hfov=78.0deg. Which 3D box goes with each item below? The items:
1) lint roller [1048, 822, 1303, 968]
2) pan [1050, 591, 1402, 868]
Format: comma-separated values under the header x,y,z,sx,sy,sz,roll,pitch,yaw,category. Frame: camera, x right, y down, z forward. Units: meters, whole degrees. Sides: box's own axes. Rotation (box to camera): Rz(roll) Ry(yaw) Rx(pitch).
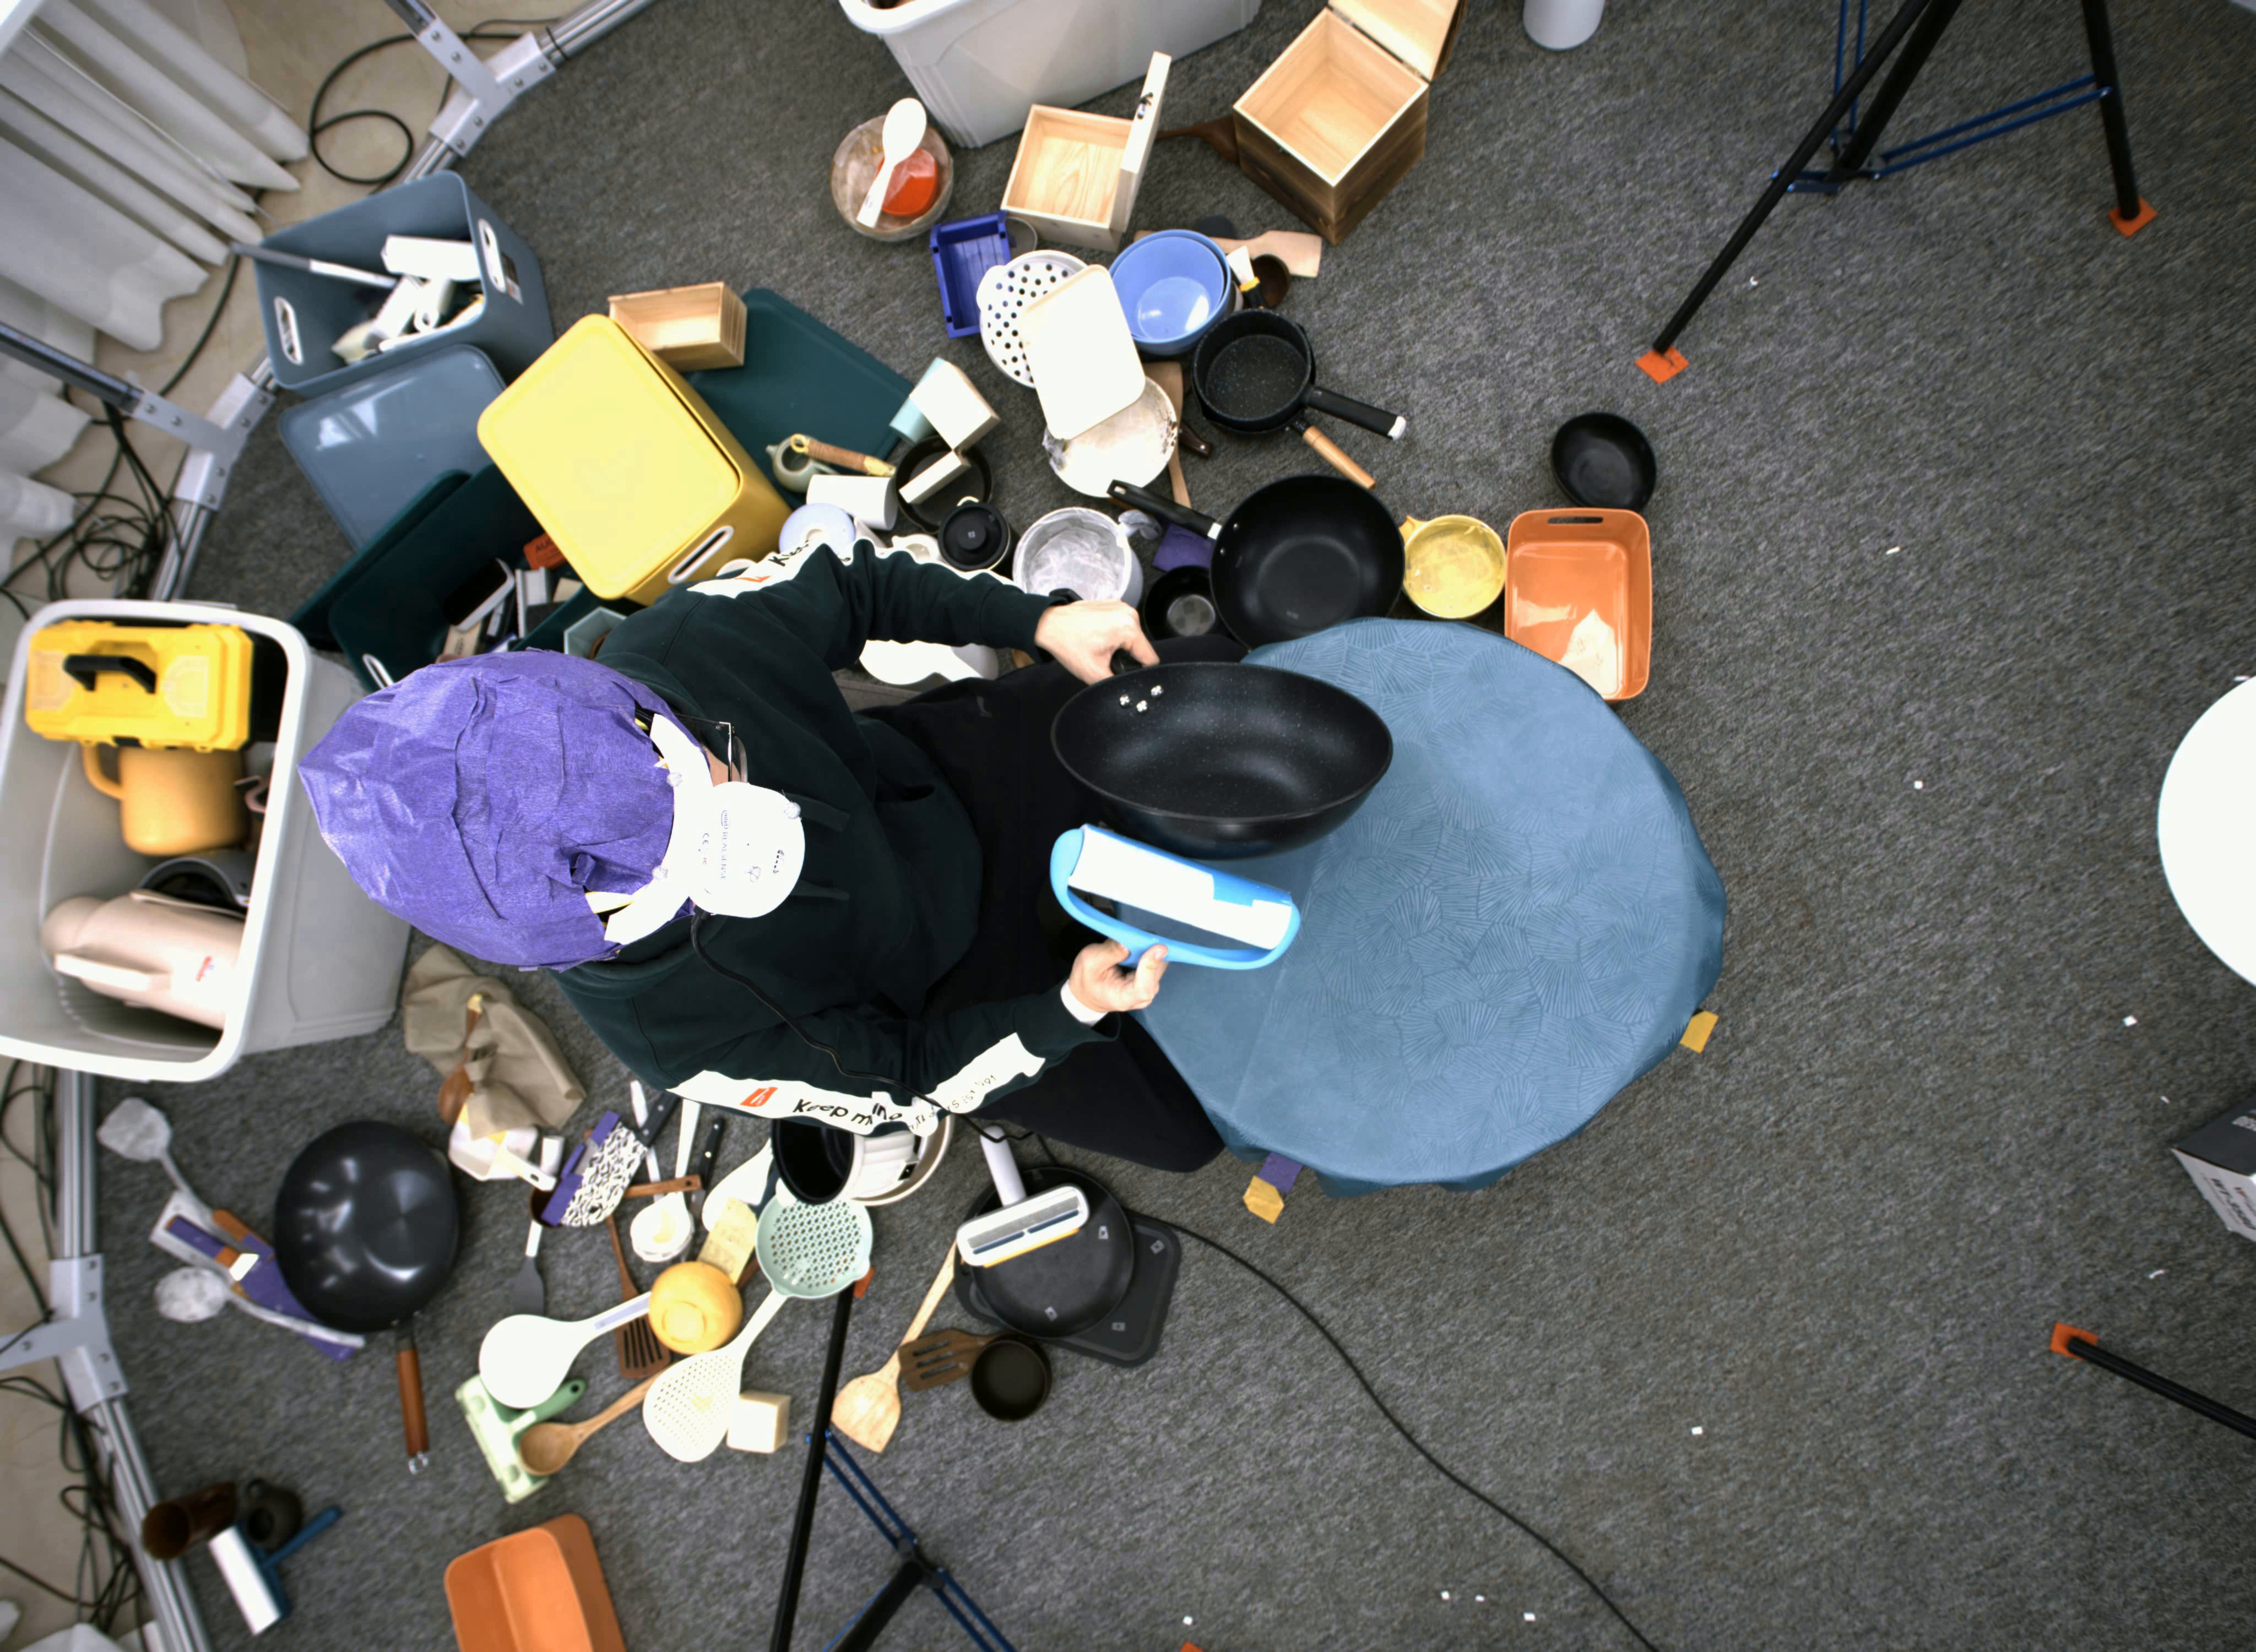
x,y,z,sx,sy,sz,roll,pitch,yaw,category
0.023,0.087,1.222,0.229,0.185,0.066,14,48,-13,lint roller
0.046,-0.094,1.314,0.307,0.471,0.114,-16,126,-26,pan
